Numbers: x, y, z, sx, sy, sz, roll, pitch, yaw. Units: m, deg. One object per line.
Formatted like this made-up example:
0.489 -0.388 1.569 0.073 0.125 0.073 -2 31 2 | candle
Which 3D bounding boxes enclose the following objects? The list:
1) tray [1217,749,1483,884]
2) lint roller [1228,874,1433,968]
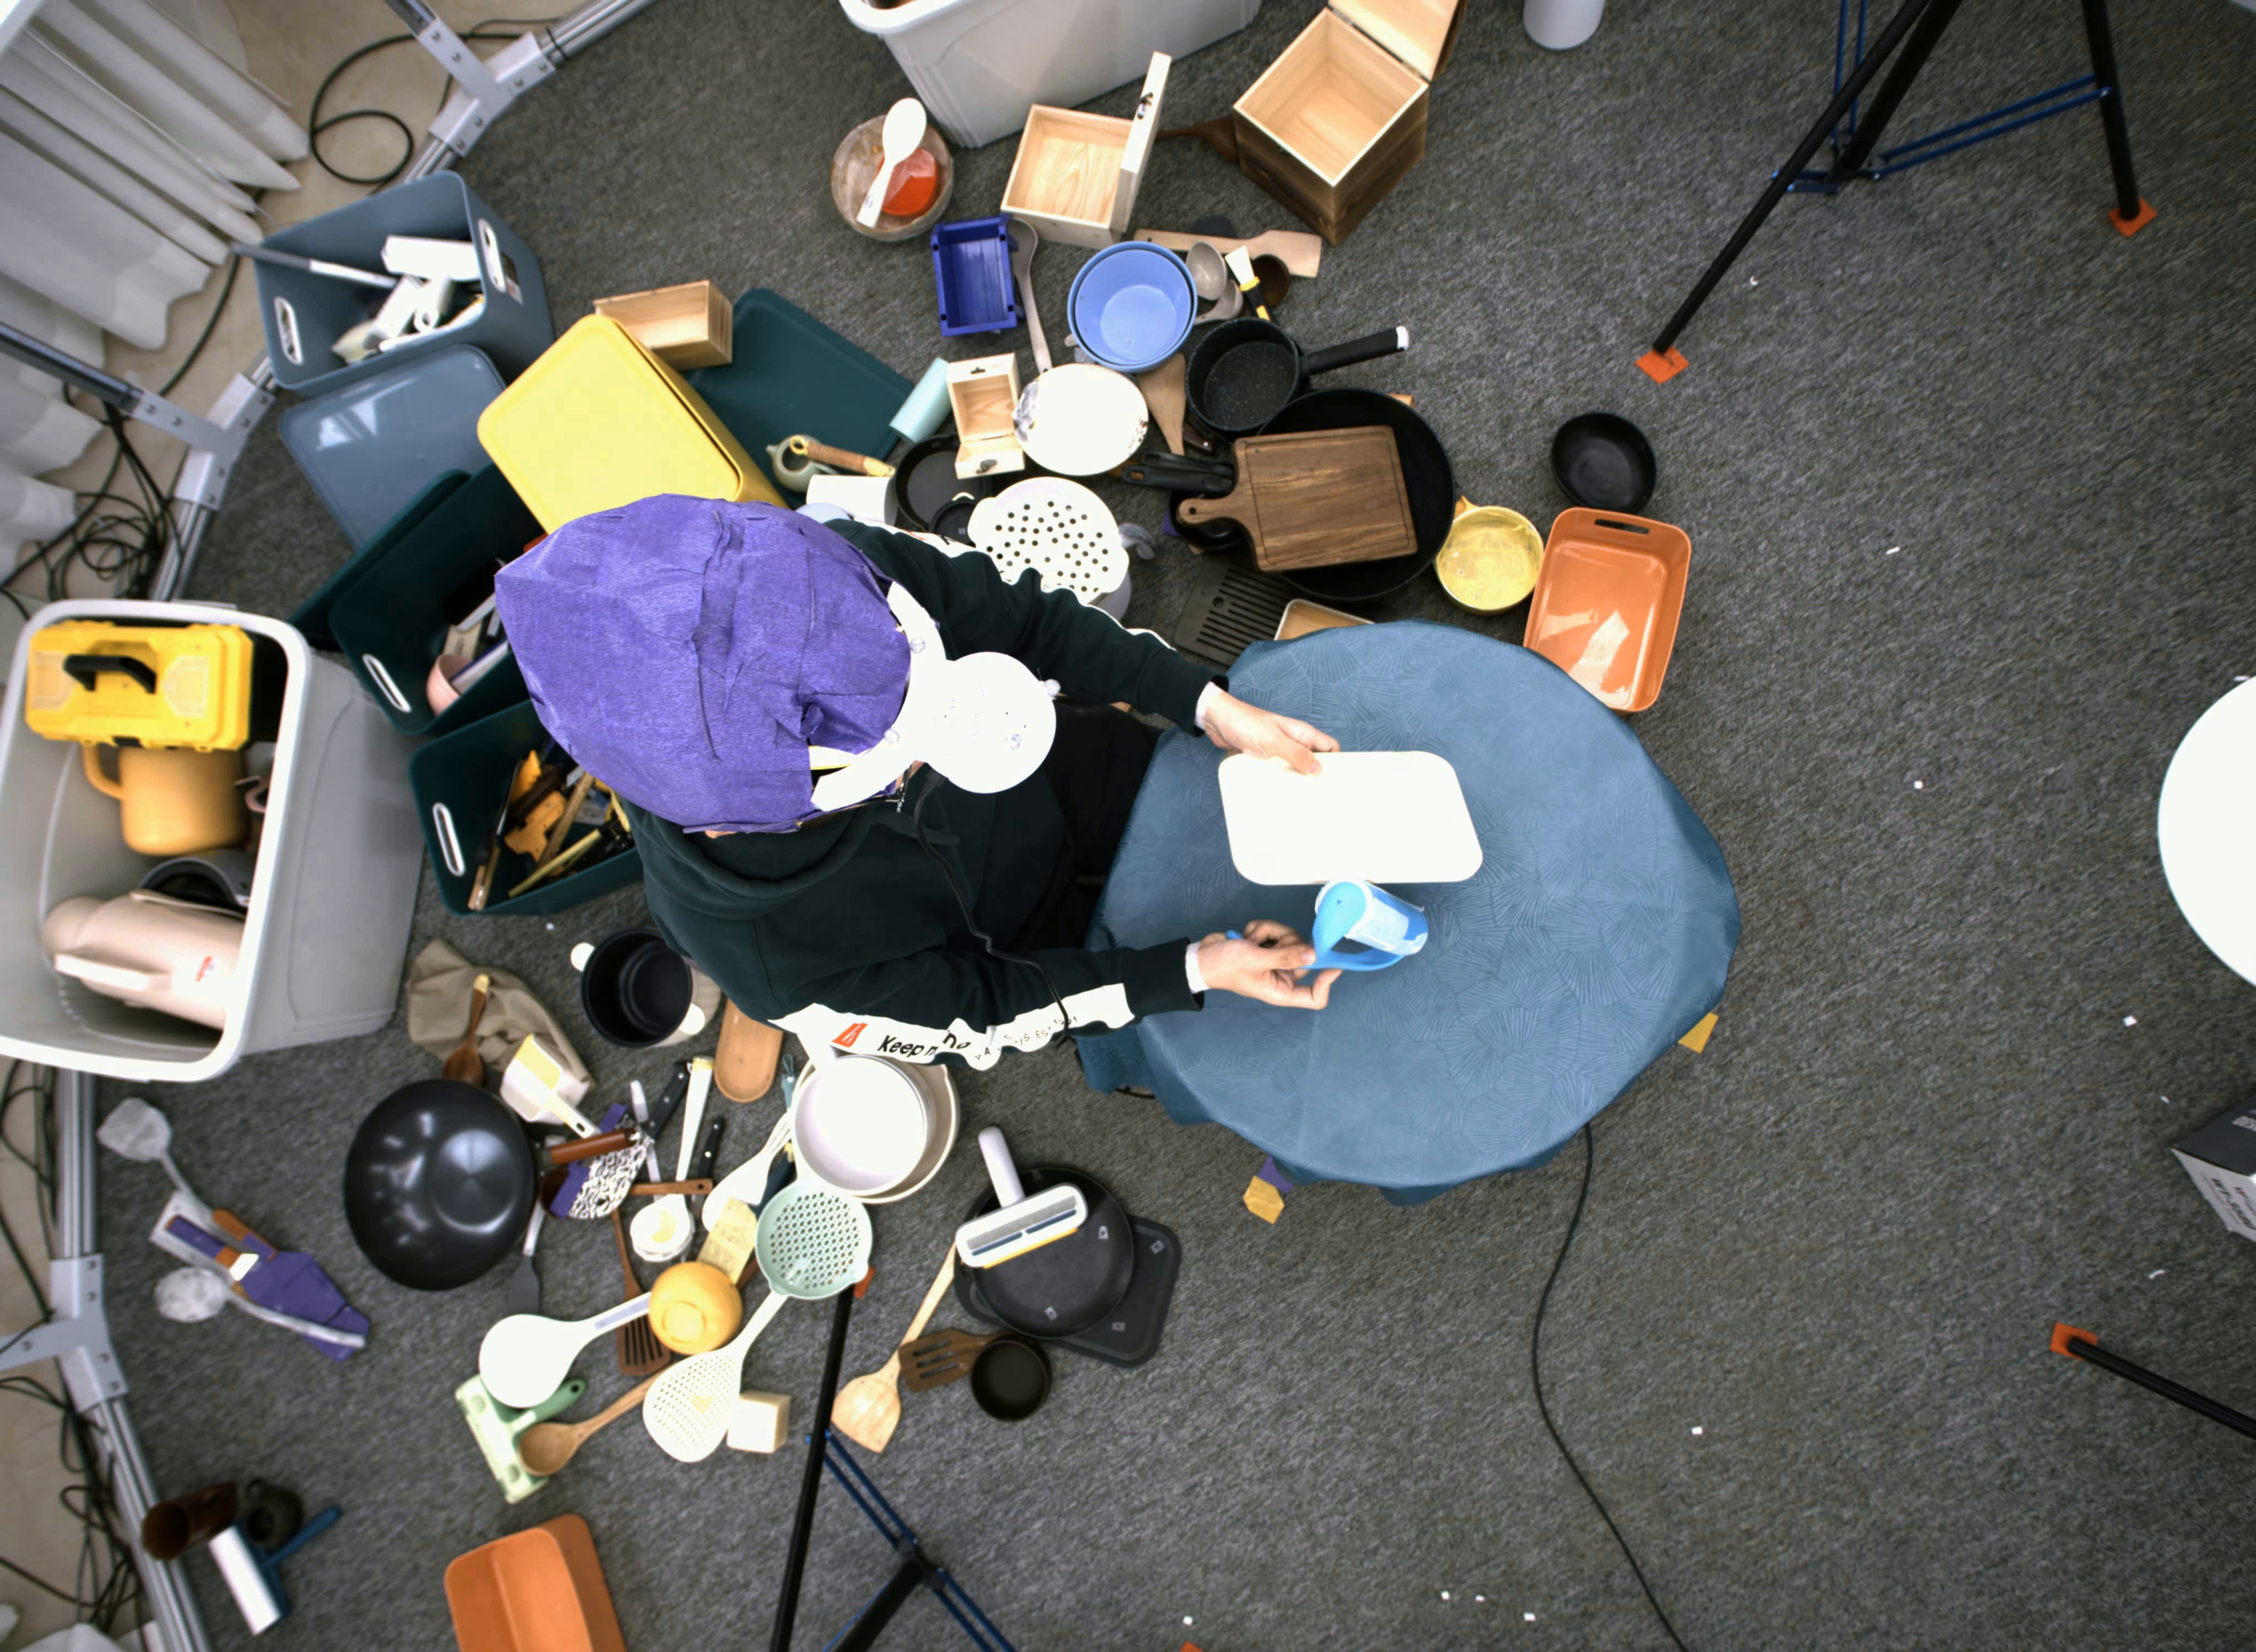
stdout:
0.209 -0.011 1.323 0.239 0.018 0.167 -1 48 -5 | tray
0.185 0.104 1.331 0.182 0.229 0.067 -19 73 26 | lint roller
